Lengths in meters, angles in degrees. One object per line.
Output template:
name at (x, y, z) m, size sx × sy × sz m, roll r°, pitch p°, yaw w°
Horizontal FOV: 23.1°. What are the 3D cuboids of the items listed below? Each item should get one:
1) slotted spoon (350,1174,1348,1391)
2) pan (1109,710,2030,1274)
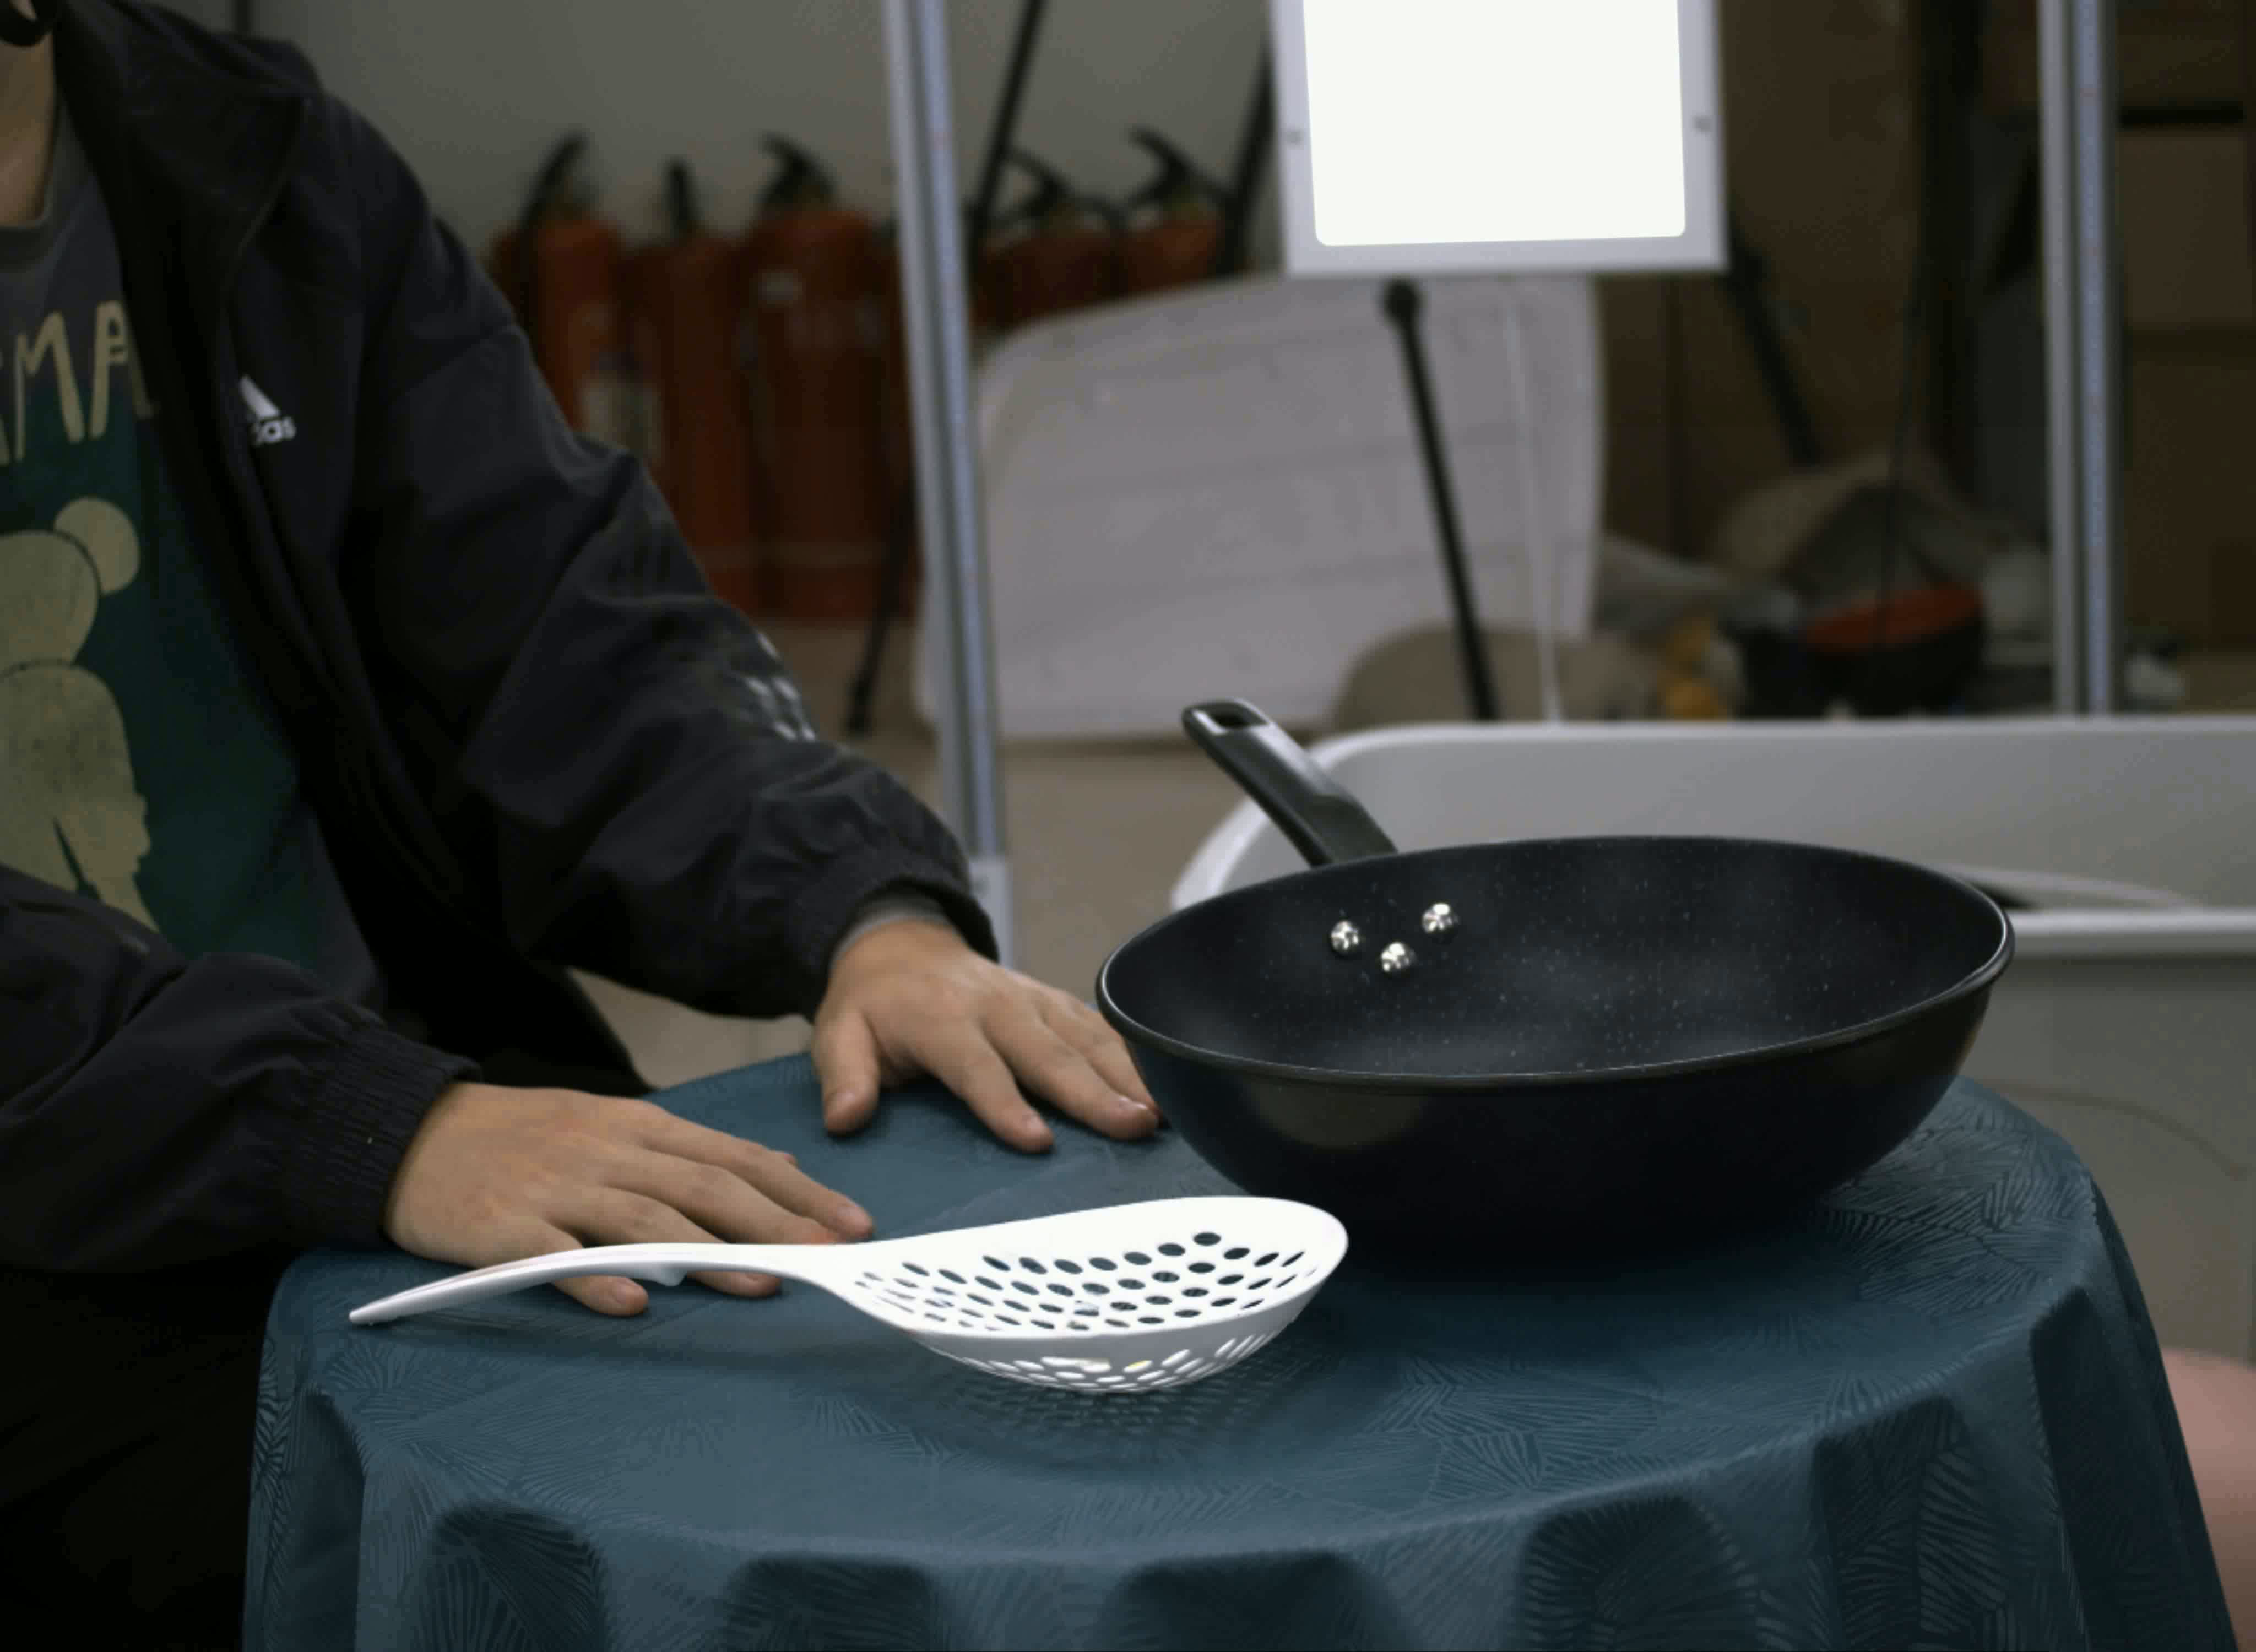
slotted spoon at (-0.096, 0.149, 1.755) m, size 0.354 × 0.050 × 0.134 m, roll 1°, pitch 17°, yaw 26°
pan at (0.120, 0.056, 1.919) m, size 0.305 × 0.112 × 0.483 m, roll -8°, pitch 14°, yaw -18°
